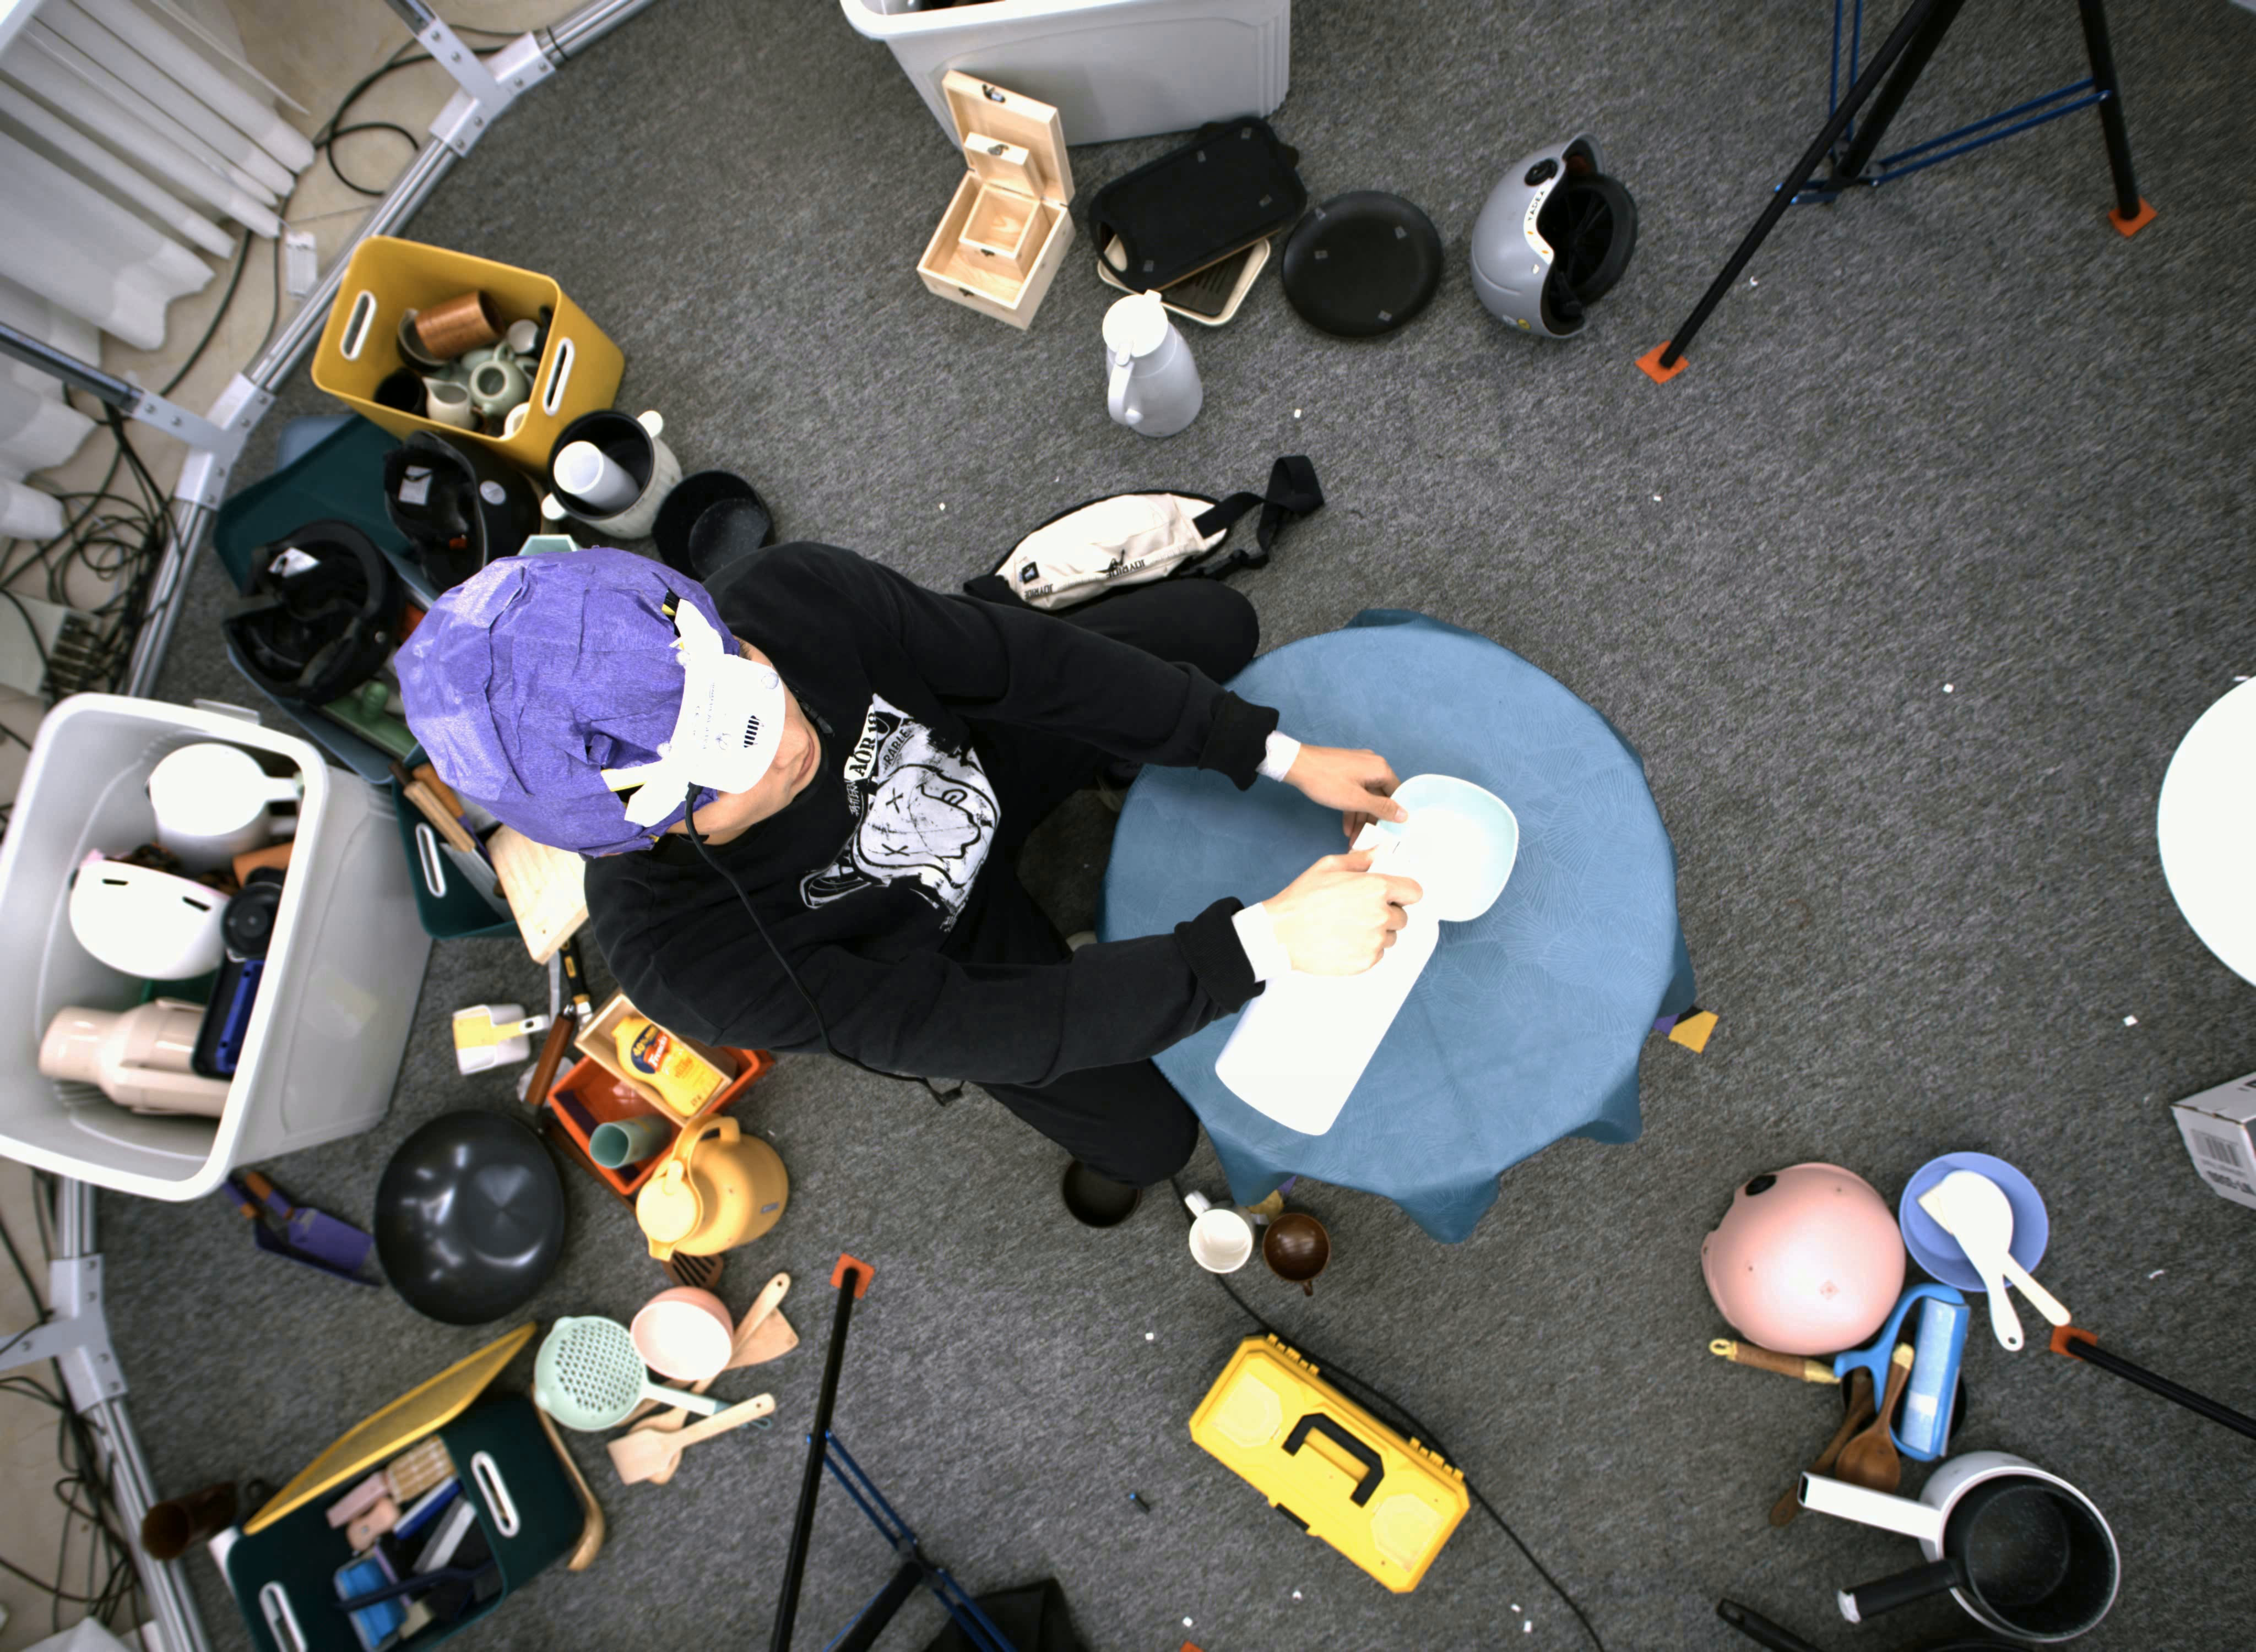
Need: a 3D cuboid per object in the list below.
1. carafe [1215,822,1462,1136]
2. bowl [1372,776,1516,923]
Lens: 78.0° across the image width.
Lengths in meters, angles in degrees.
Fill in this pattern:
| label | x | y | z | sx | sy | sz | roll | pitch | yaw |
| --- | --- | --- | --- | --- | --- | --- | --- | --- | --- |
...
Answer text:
| label | x | y | z | sx | sy | sz | roll | pitch | yaw |
| --- | --- | --- | --- | --- | --- | --- | --- | --- | --- |
| carafe | 0.187 | 0.135 | 1.226 | 0.123 | 0.172 | 0.270 | 32 | 96 | 14 |
| bowl | 0.315 | 0.023 | 1.389 | 0.152 | 0.058 | 0.151 | 0 | 89 | 9 |
